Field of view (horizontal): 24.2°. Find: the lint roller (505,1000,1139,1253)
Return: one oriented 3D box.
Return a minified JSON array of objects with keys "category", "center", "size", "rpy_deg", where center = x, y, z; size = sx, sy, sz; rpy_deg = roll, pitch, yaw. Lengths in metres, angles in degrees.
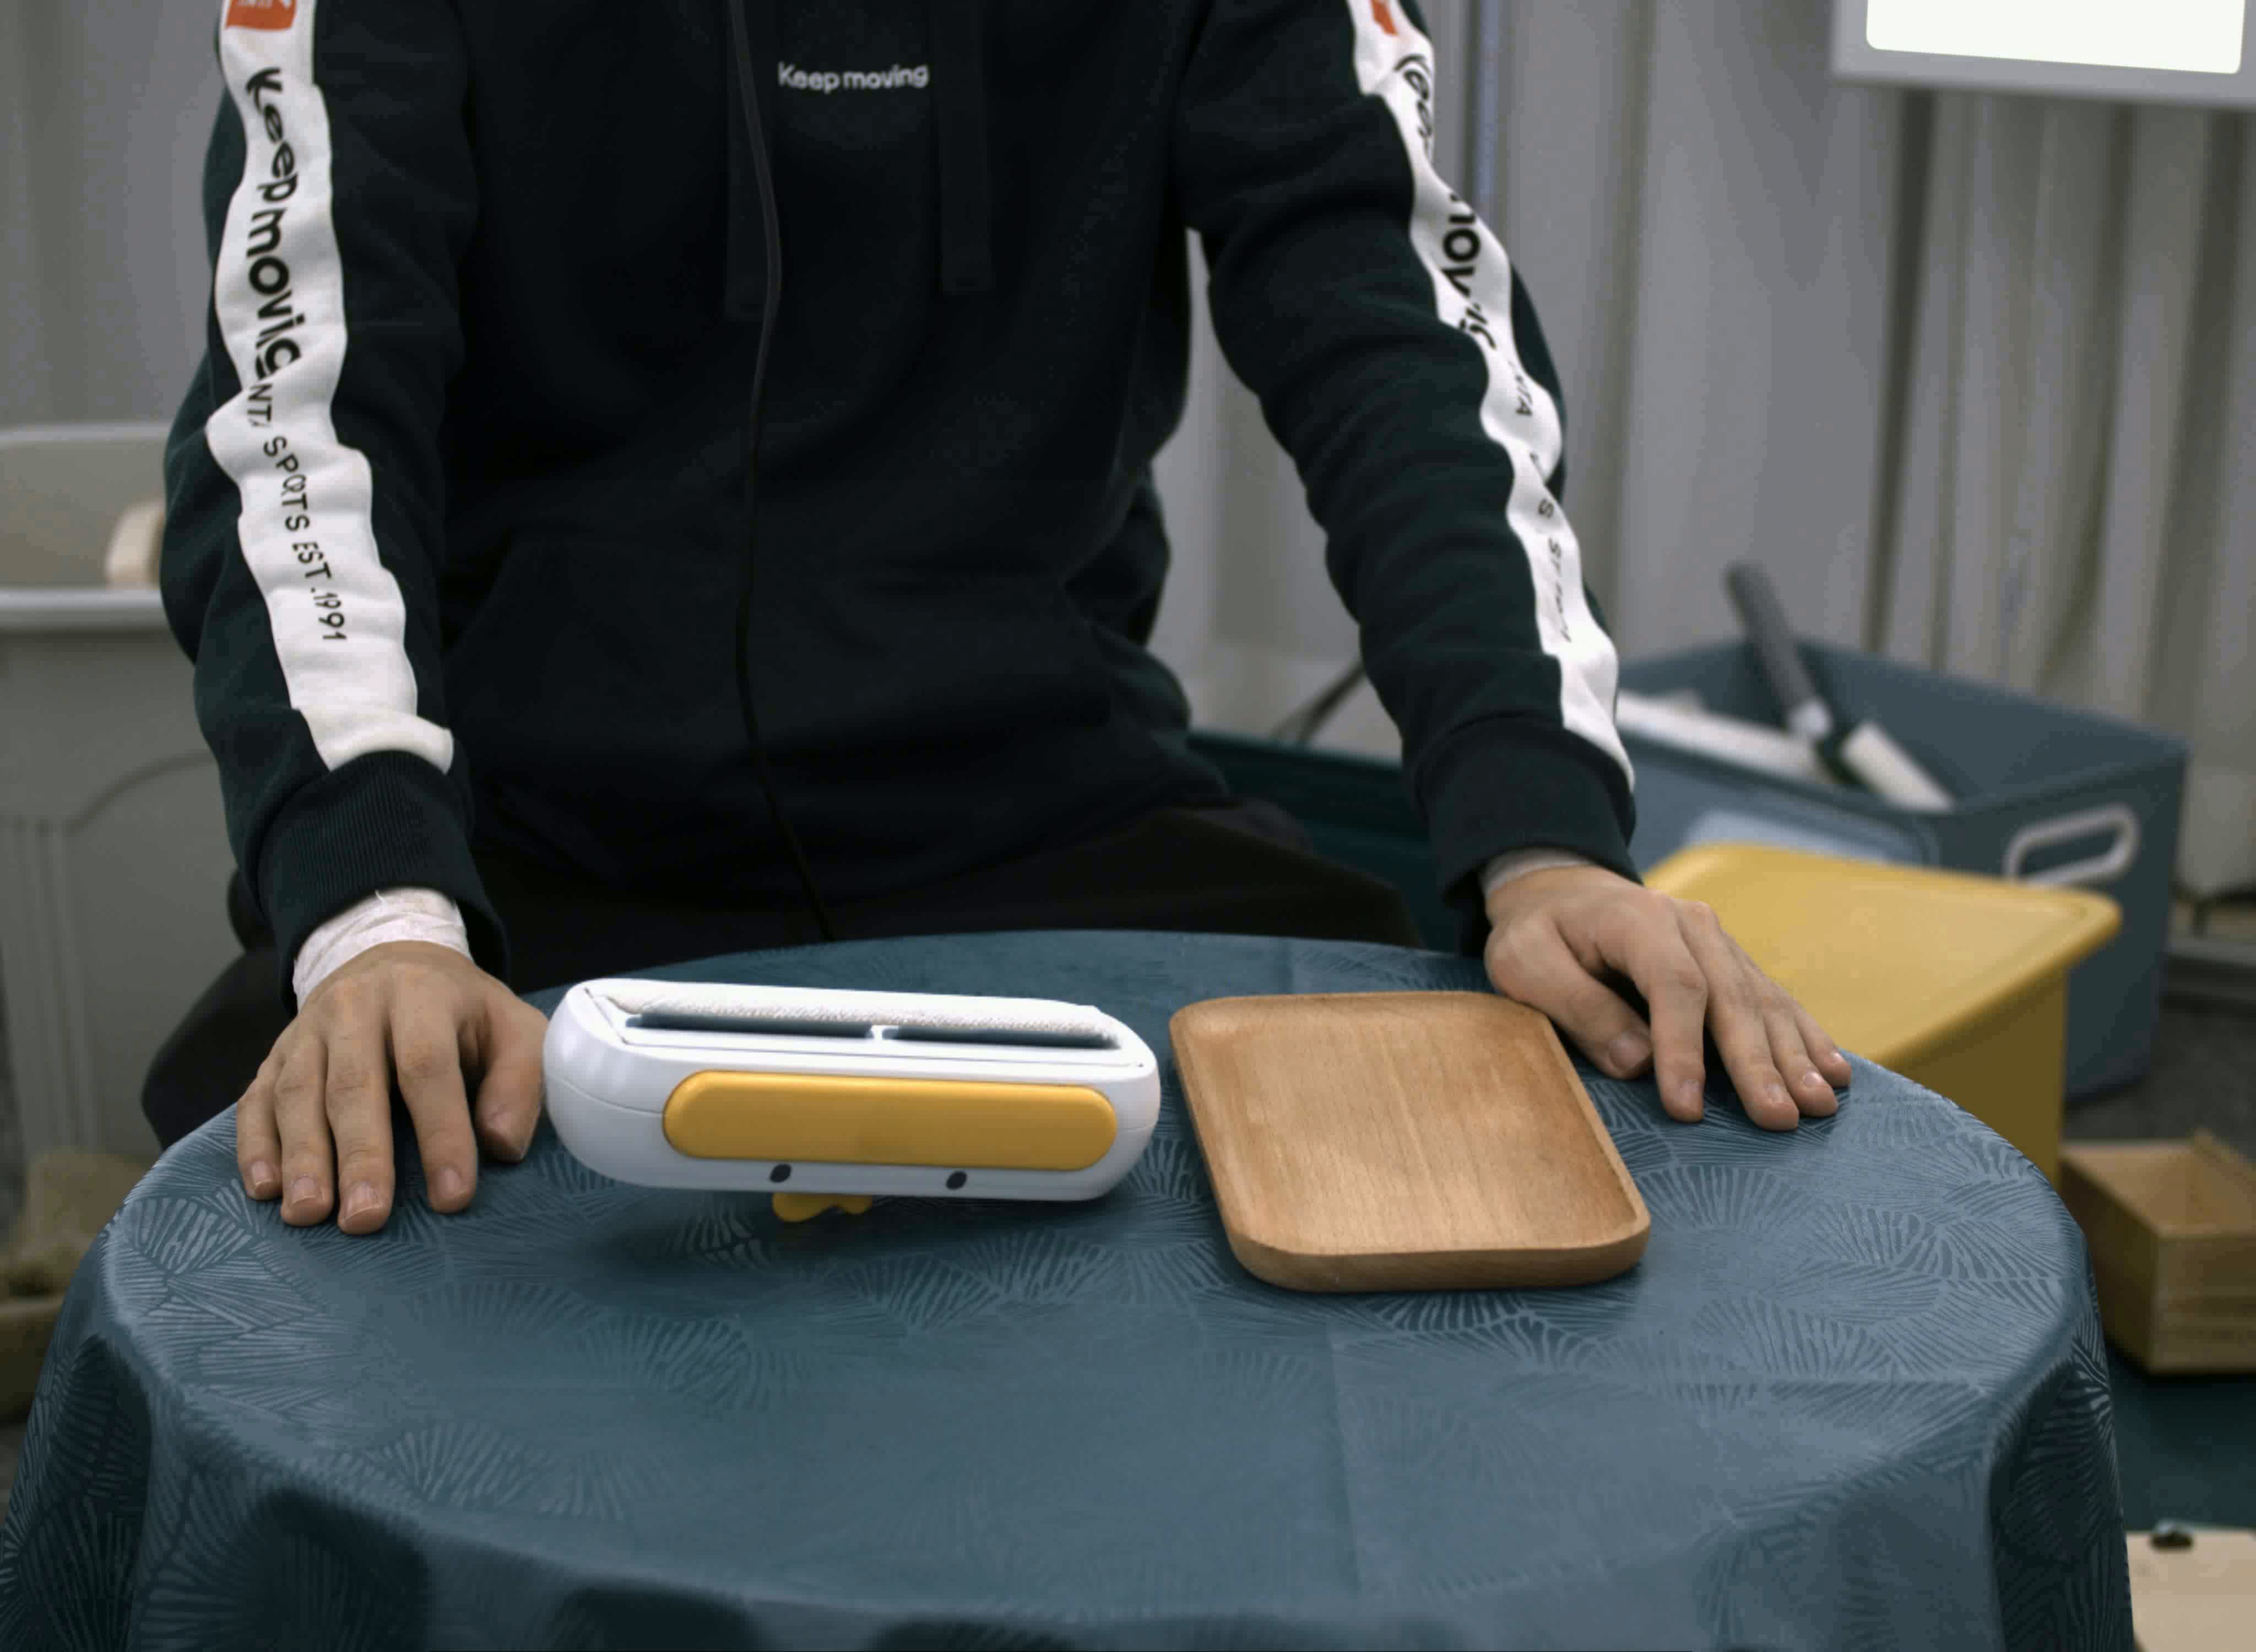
[{"category":"lint roller","center":[-0.110,0.092,1.633],"size":[0.193,0.074,0.191],"rpy_deg":[2,-1,-20]}]

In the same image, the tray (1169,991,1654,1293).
[{"category":"tray","center":[0.085,0.096,1.650],"size":[0.130,0.023,0.249],"rpy_deg":[1,15,-5]}]
